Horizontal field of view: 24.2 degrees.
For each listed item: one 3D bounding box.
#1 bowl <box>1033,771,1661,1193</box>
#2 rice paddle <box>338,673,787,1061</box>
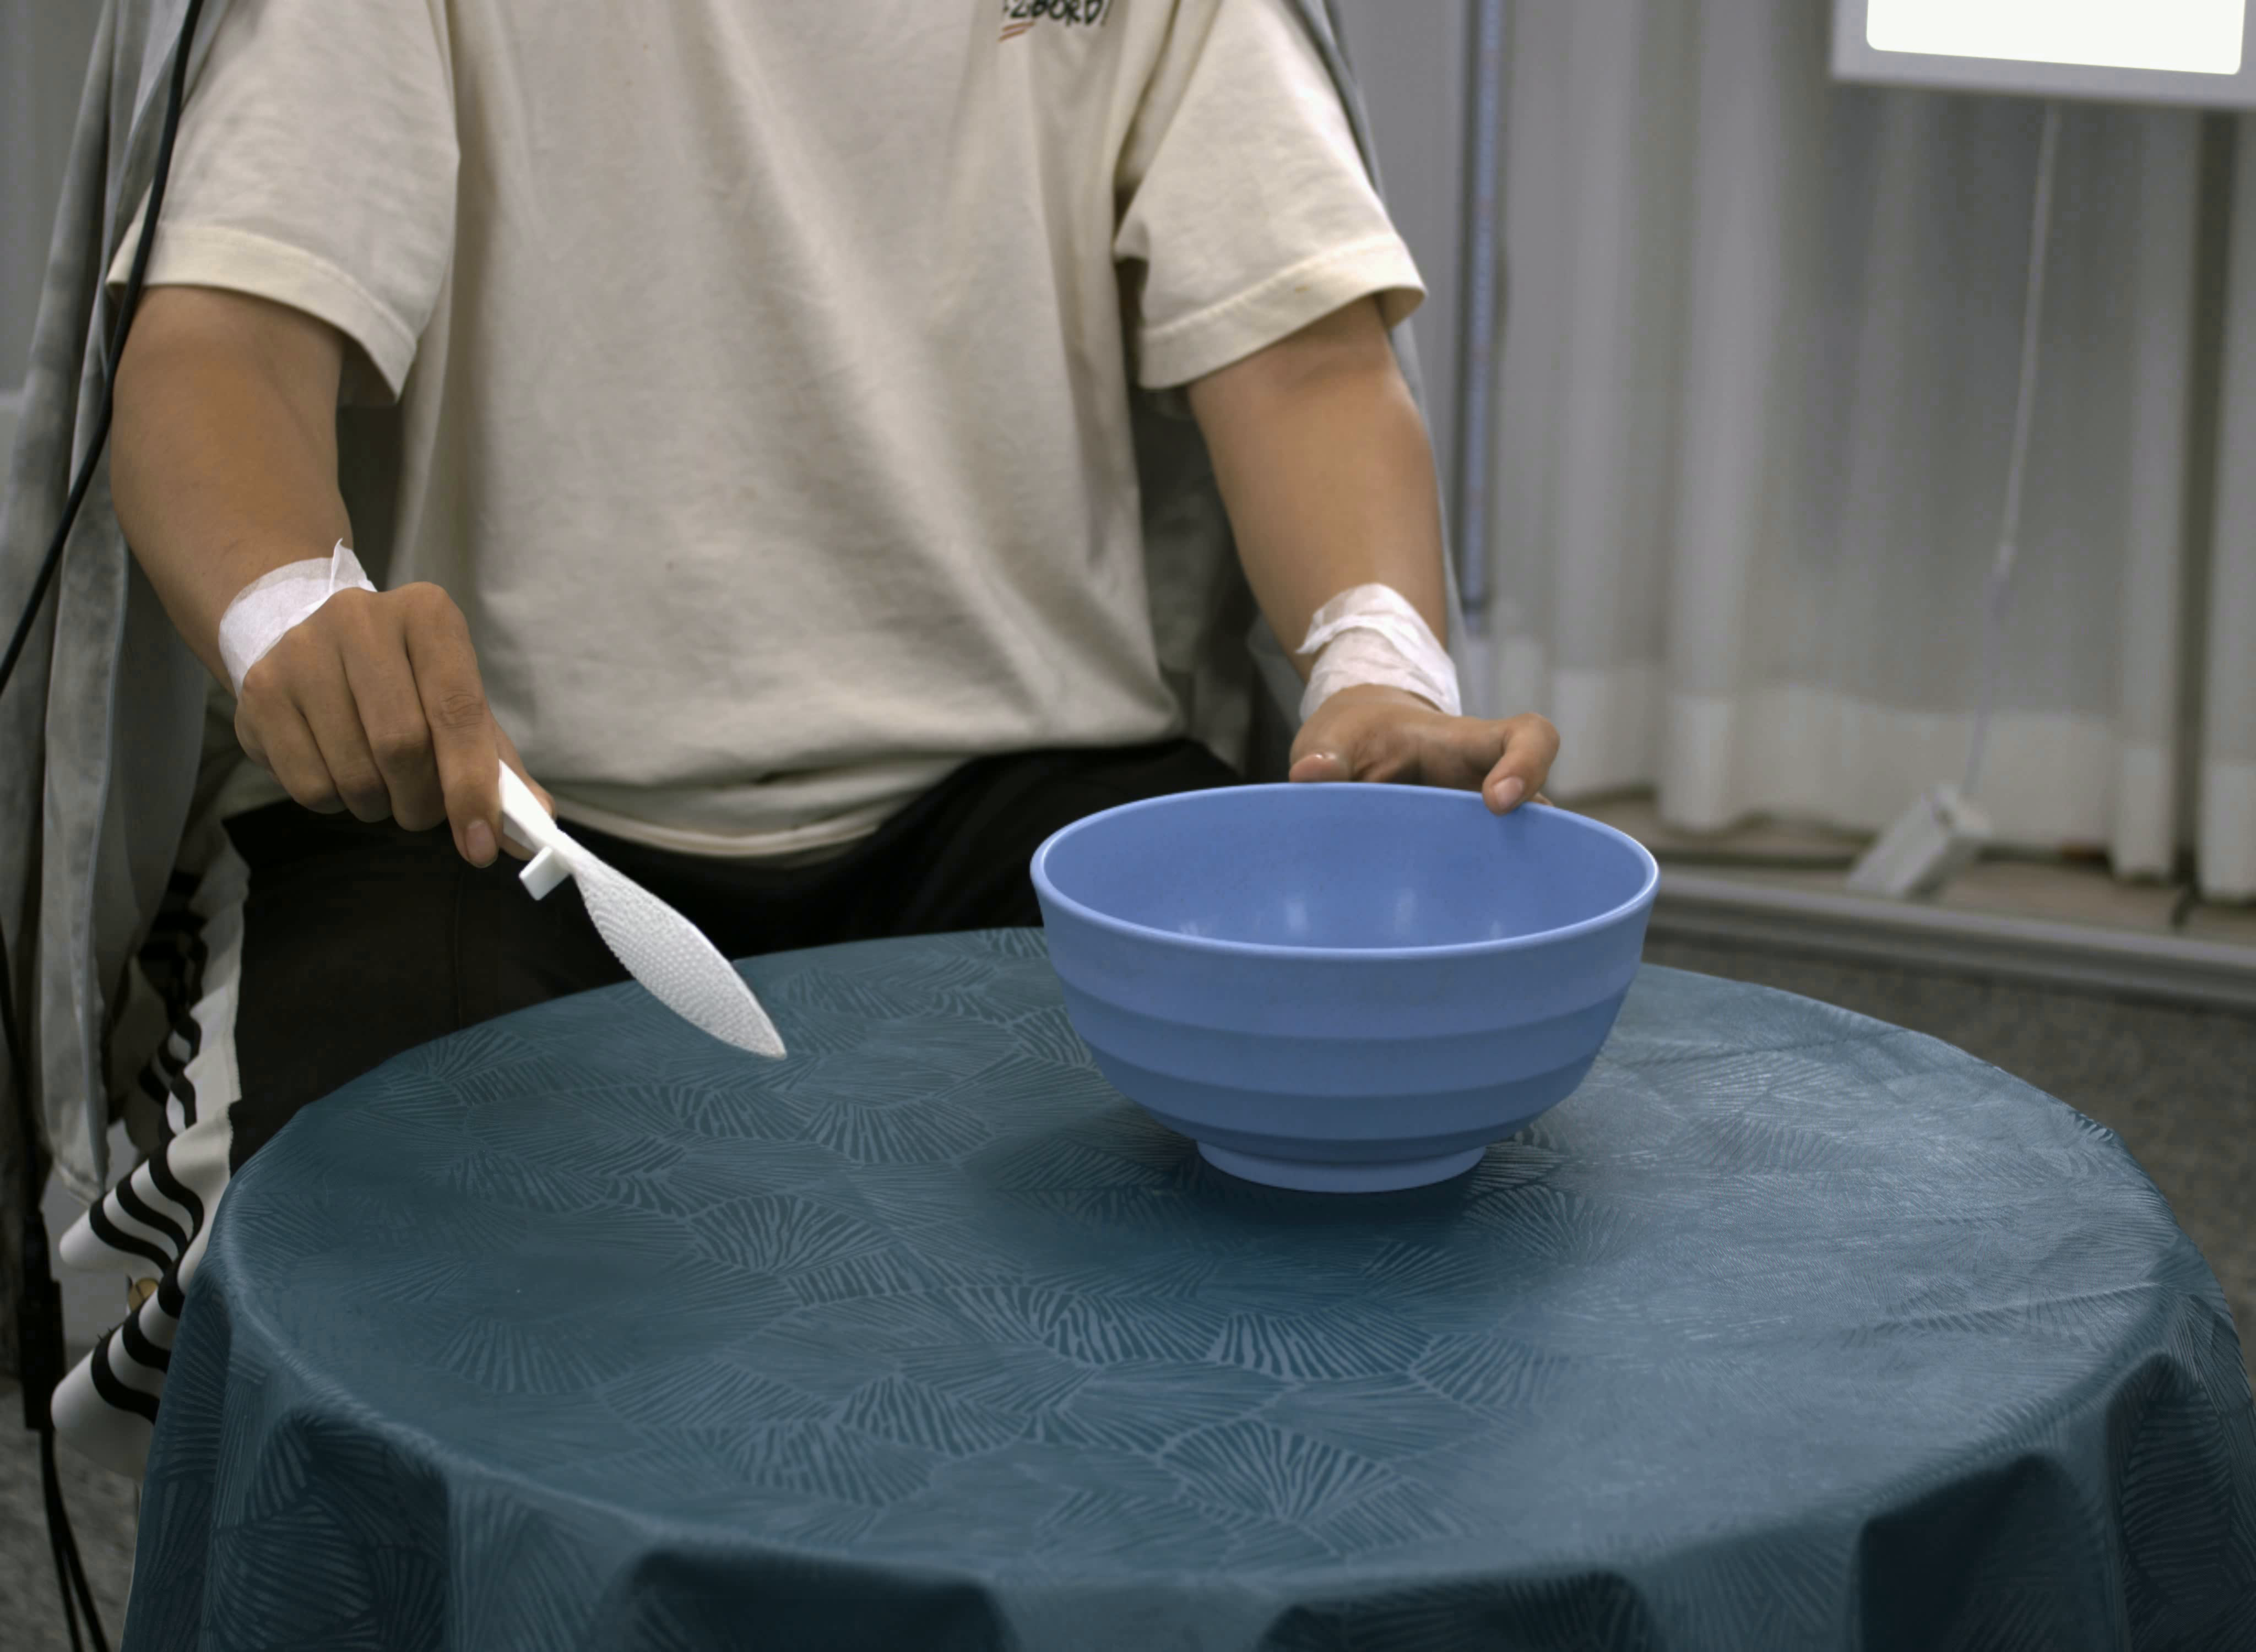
[{"bbox_3d":[0.068,0.055,1.655,0.196,0.096,0.195,1,18,0],"label":"bowl"},{"bbox_3d":[-0.165,0.012,1.574,0.029,0.070,0.202,-44,52,-15],"label":"rice paddle"}]
